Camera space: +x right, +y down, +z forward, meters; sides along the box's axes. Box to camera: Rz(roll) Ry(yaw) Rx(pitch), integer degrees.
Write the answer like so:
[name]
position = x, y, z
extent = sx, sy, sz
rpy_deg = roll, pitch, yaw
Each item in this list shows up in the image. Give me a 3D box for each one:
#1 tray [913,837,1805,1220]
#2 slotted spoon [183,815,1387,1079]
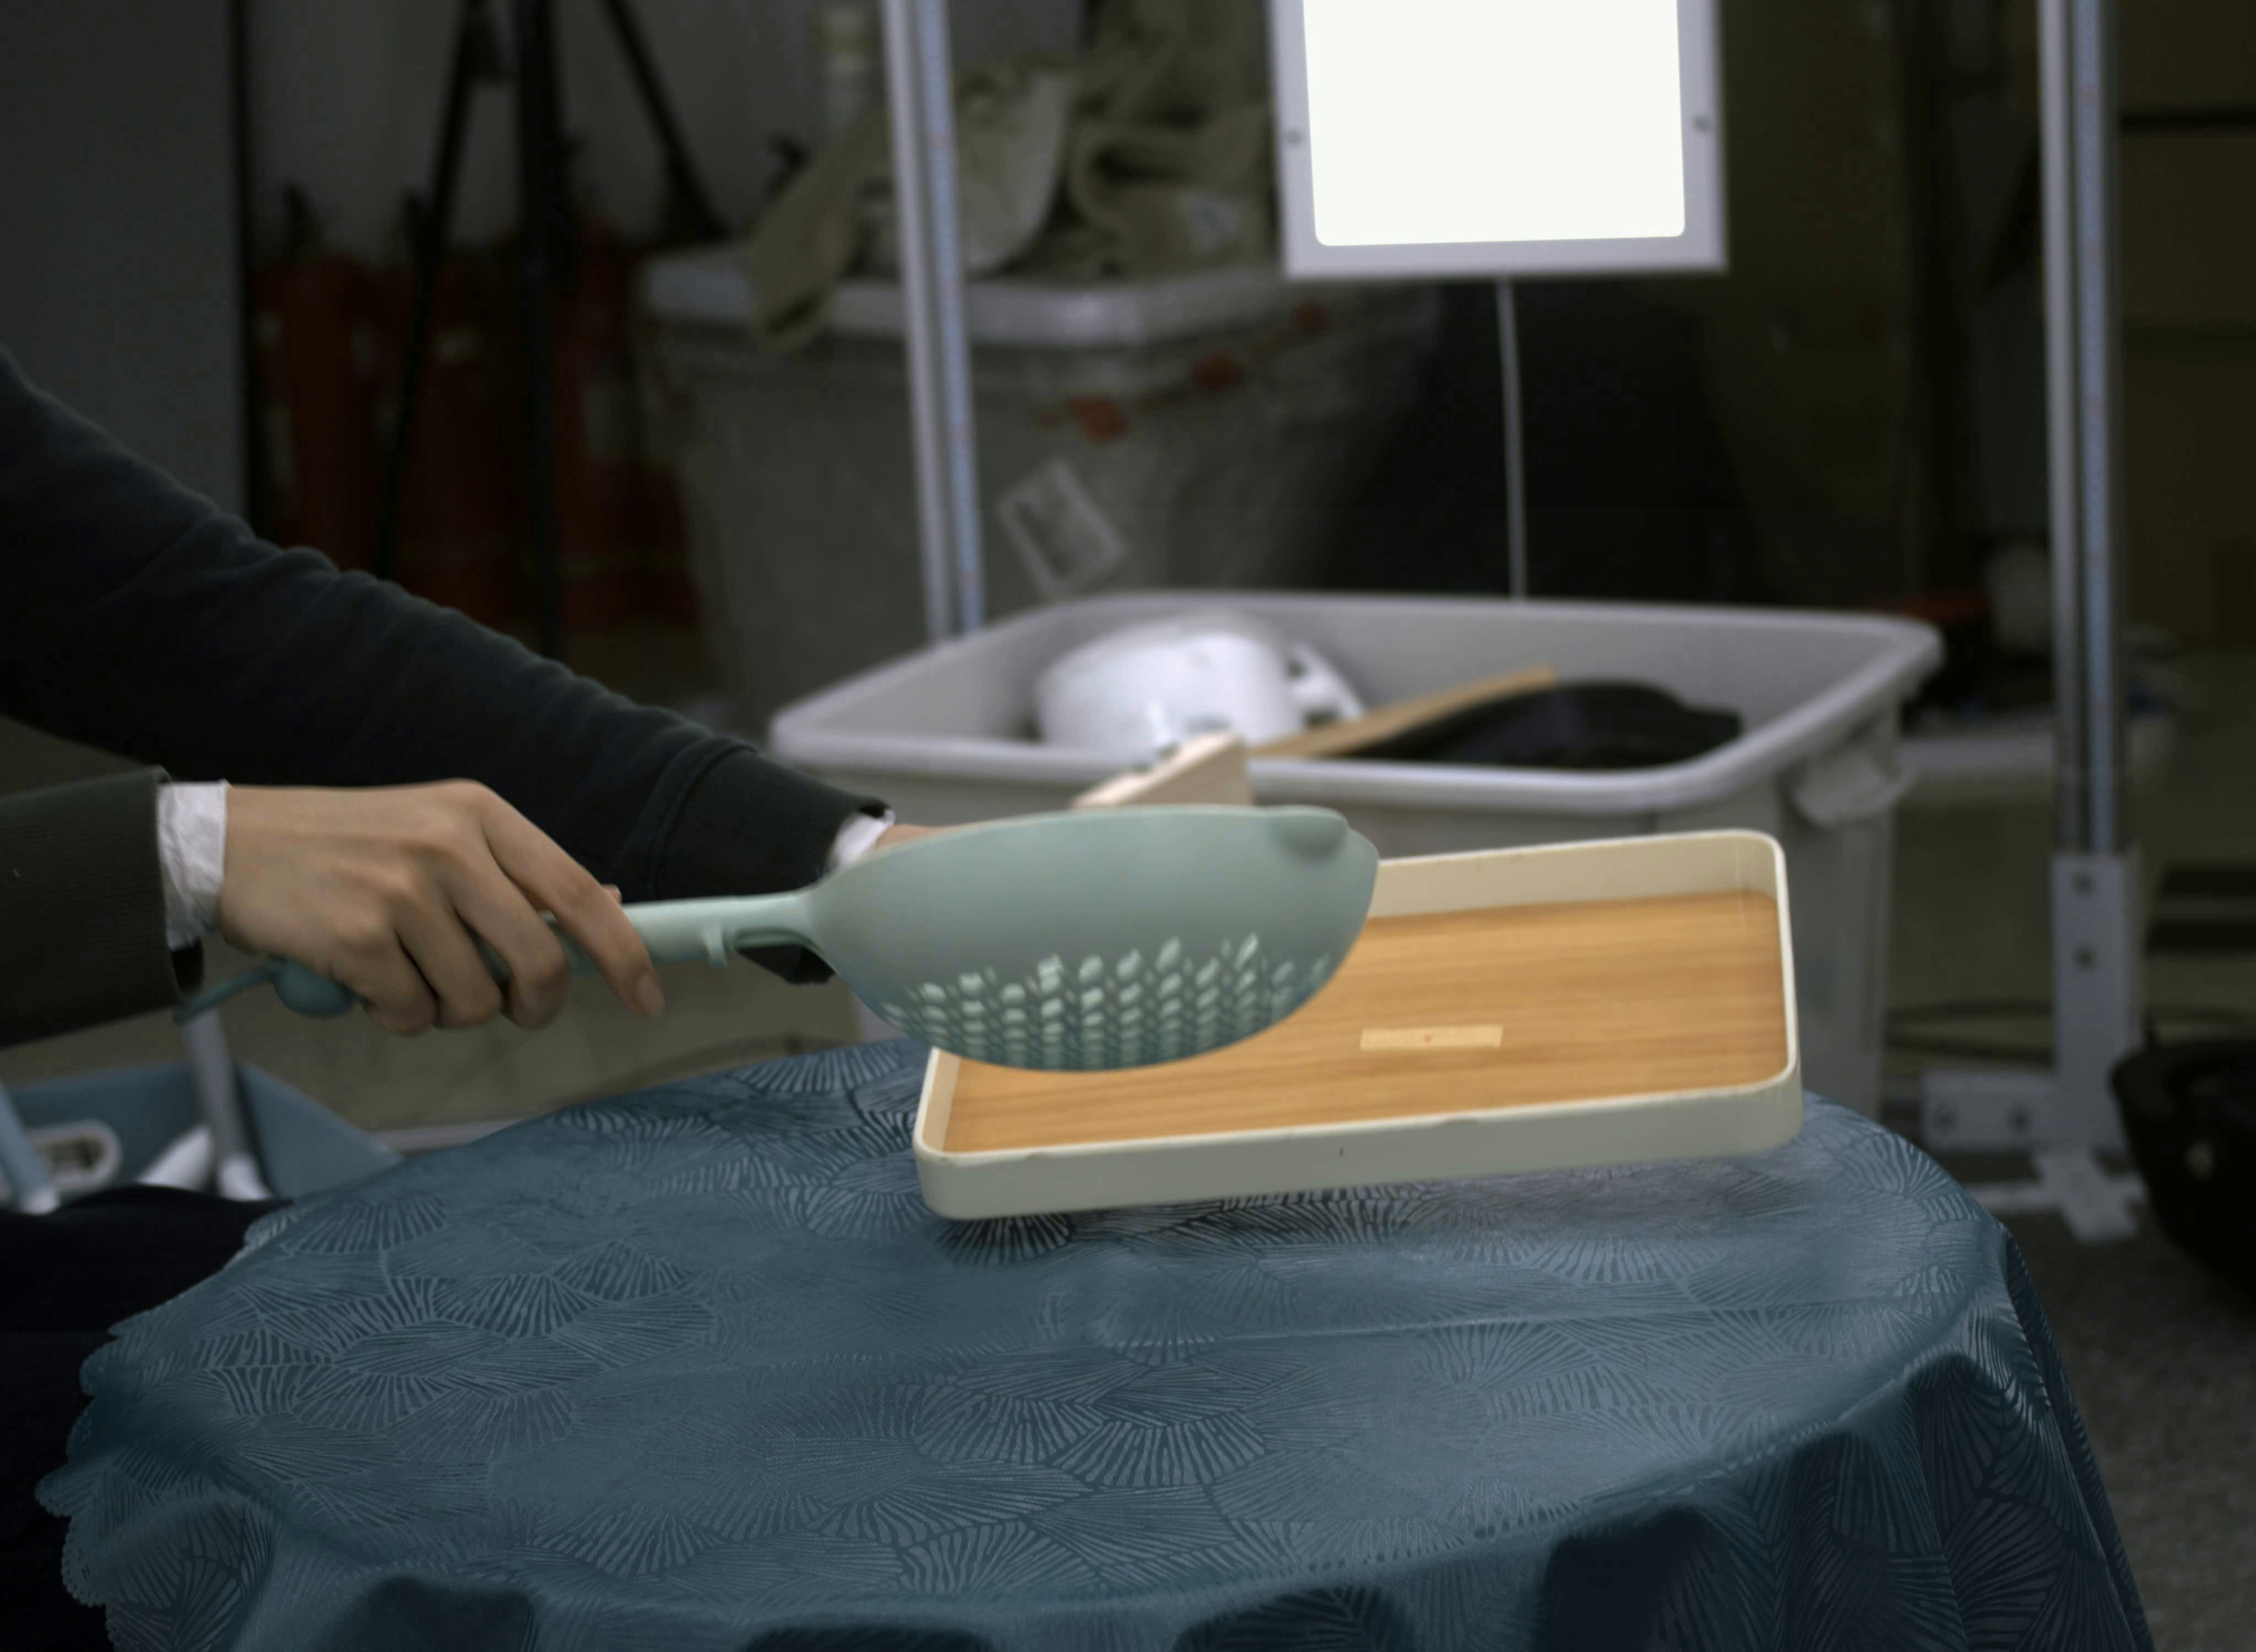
[tray]
position = 0.082, 0.069, 1.902
extent = 0.302, 0.027, 0.190
rpy_deg = -5, 27, 10
[slotted spoon]
position = -0.103, 0.035, 1.657
extent = 0.358, 0.075, 0.169
rpy_deg = 4, -14, 3
